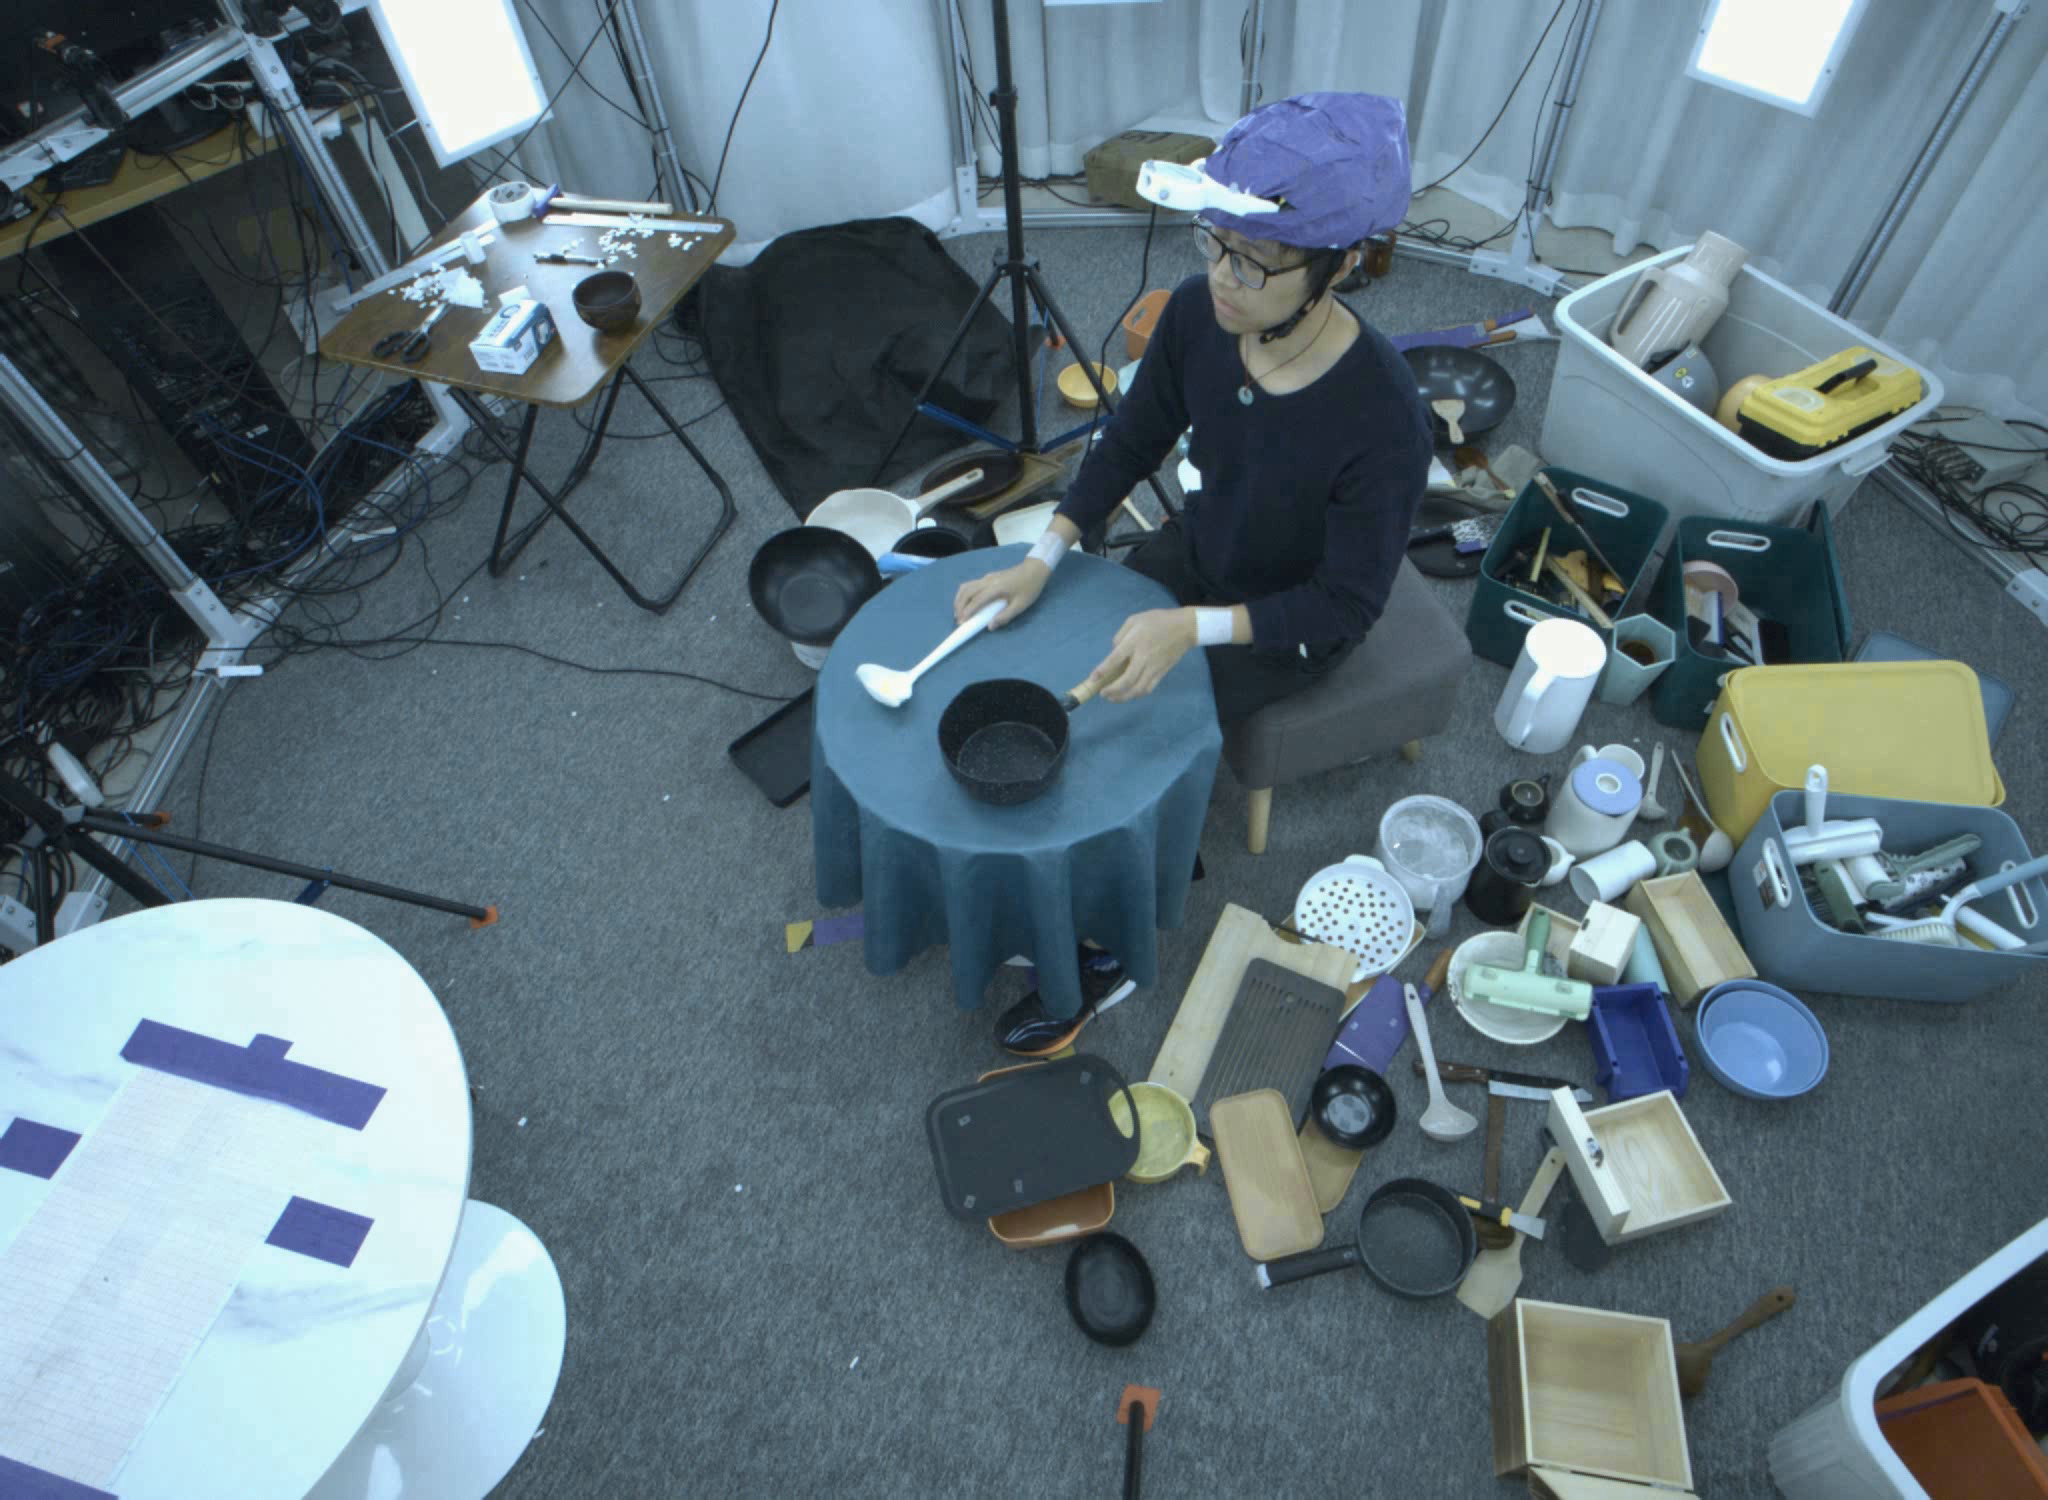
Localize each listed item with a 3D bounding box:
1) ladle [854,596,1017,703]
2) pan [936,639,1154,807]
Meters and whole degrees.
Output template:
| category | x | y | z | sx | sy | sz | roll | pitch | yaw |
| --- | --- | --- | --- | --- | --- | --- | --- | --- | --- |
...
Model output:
| category | x | y | z | sx | sy | sz | roll | pitch | yaw |
| --- | --- | --- | --- | --- | --- | --- | --- | --- | --- |
| ladle | -0.129 | -0.162 | 1.872 | 0.295 | 0.070 | 0.088 | -37 | 62 | -23 |
| pan | 0.039 | -0.049 | 1.753 | 0.345 | 0.109 | 0.203 | -30 | 58 | -16 |
